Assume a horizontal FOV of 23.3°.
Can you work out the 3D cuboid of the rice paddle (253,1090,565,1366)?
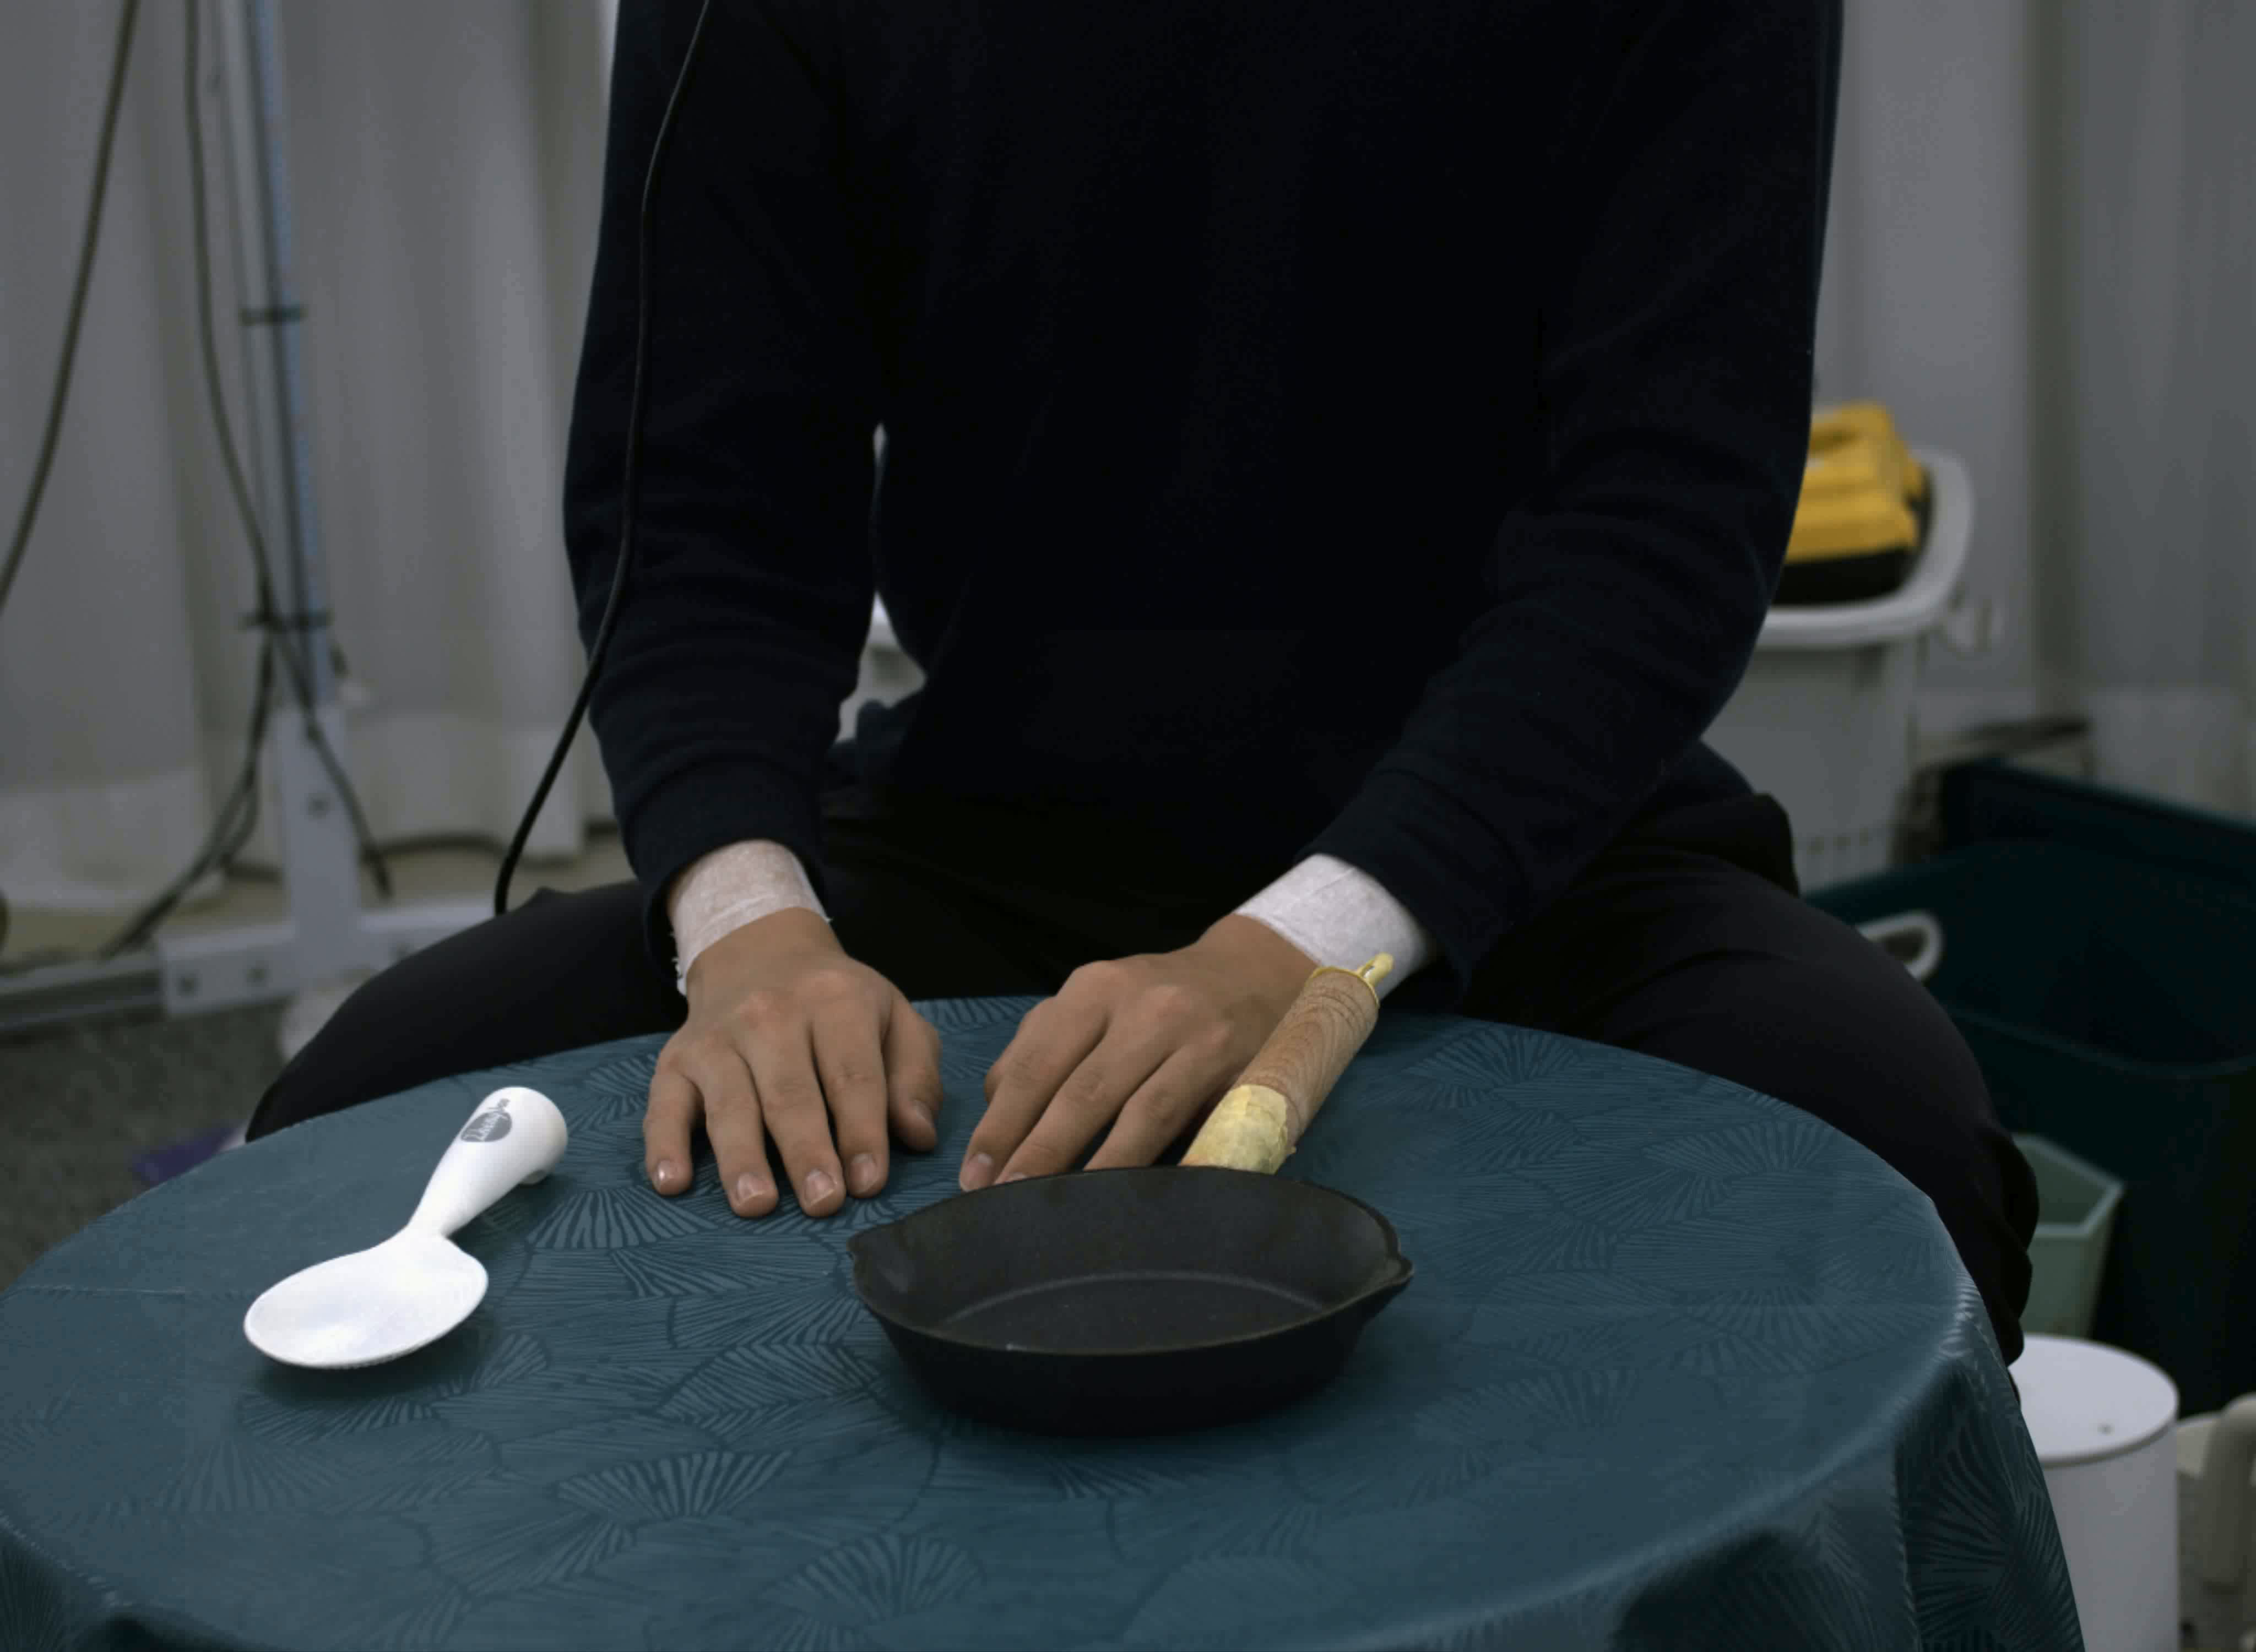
[{"bbox_3d":[-0.212,0.125,1.665,0.068,0.029,0.206,-2,14,10],"label":"rice paddle"}]

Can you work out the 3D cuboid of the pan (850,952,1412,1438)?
[{"bbox_3d":[0.029,0.107,1.640,0.169,0.049,0.325,2,17,20],"label":"pan"}]
